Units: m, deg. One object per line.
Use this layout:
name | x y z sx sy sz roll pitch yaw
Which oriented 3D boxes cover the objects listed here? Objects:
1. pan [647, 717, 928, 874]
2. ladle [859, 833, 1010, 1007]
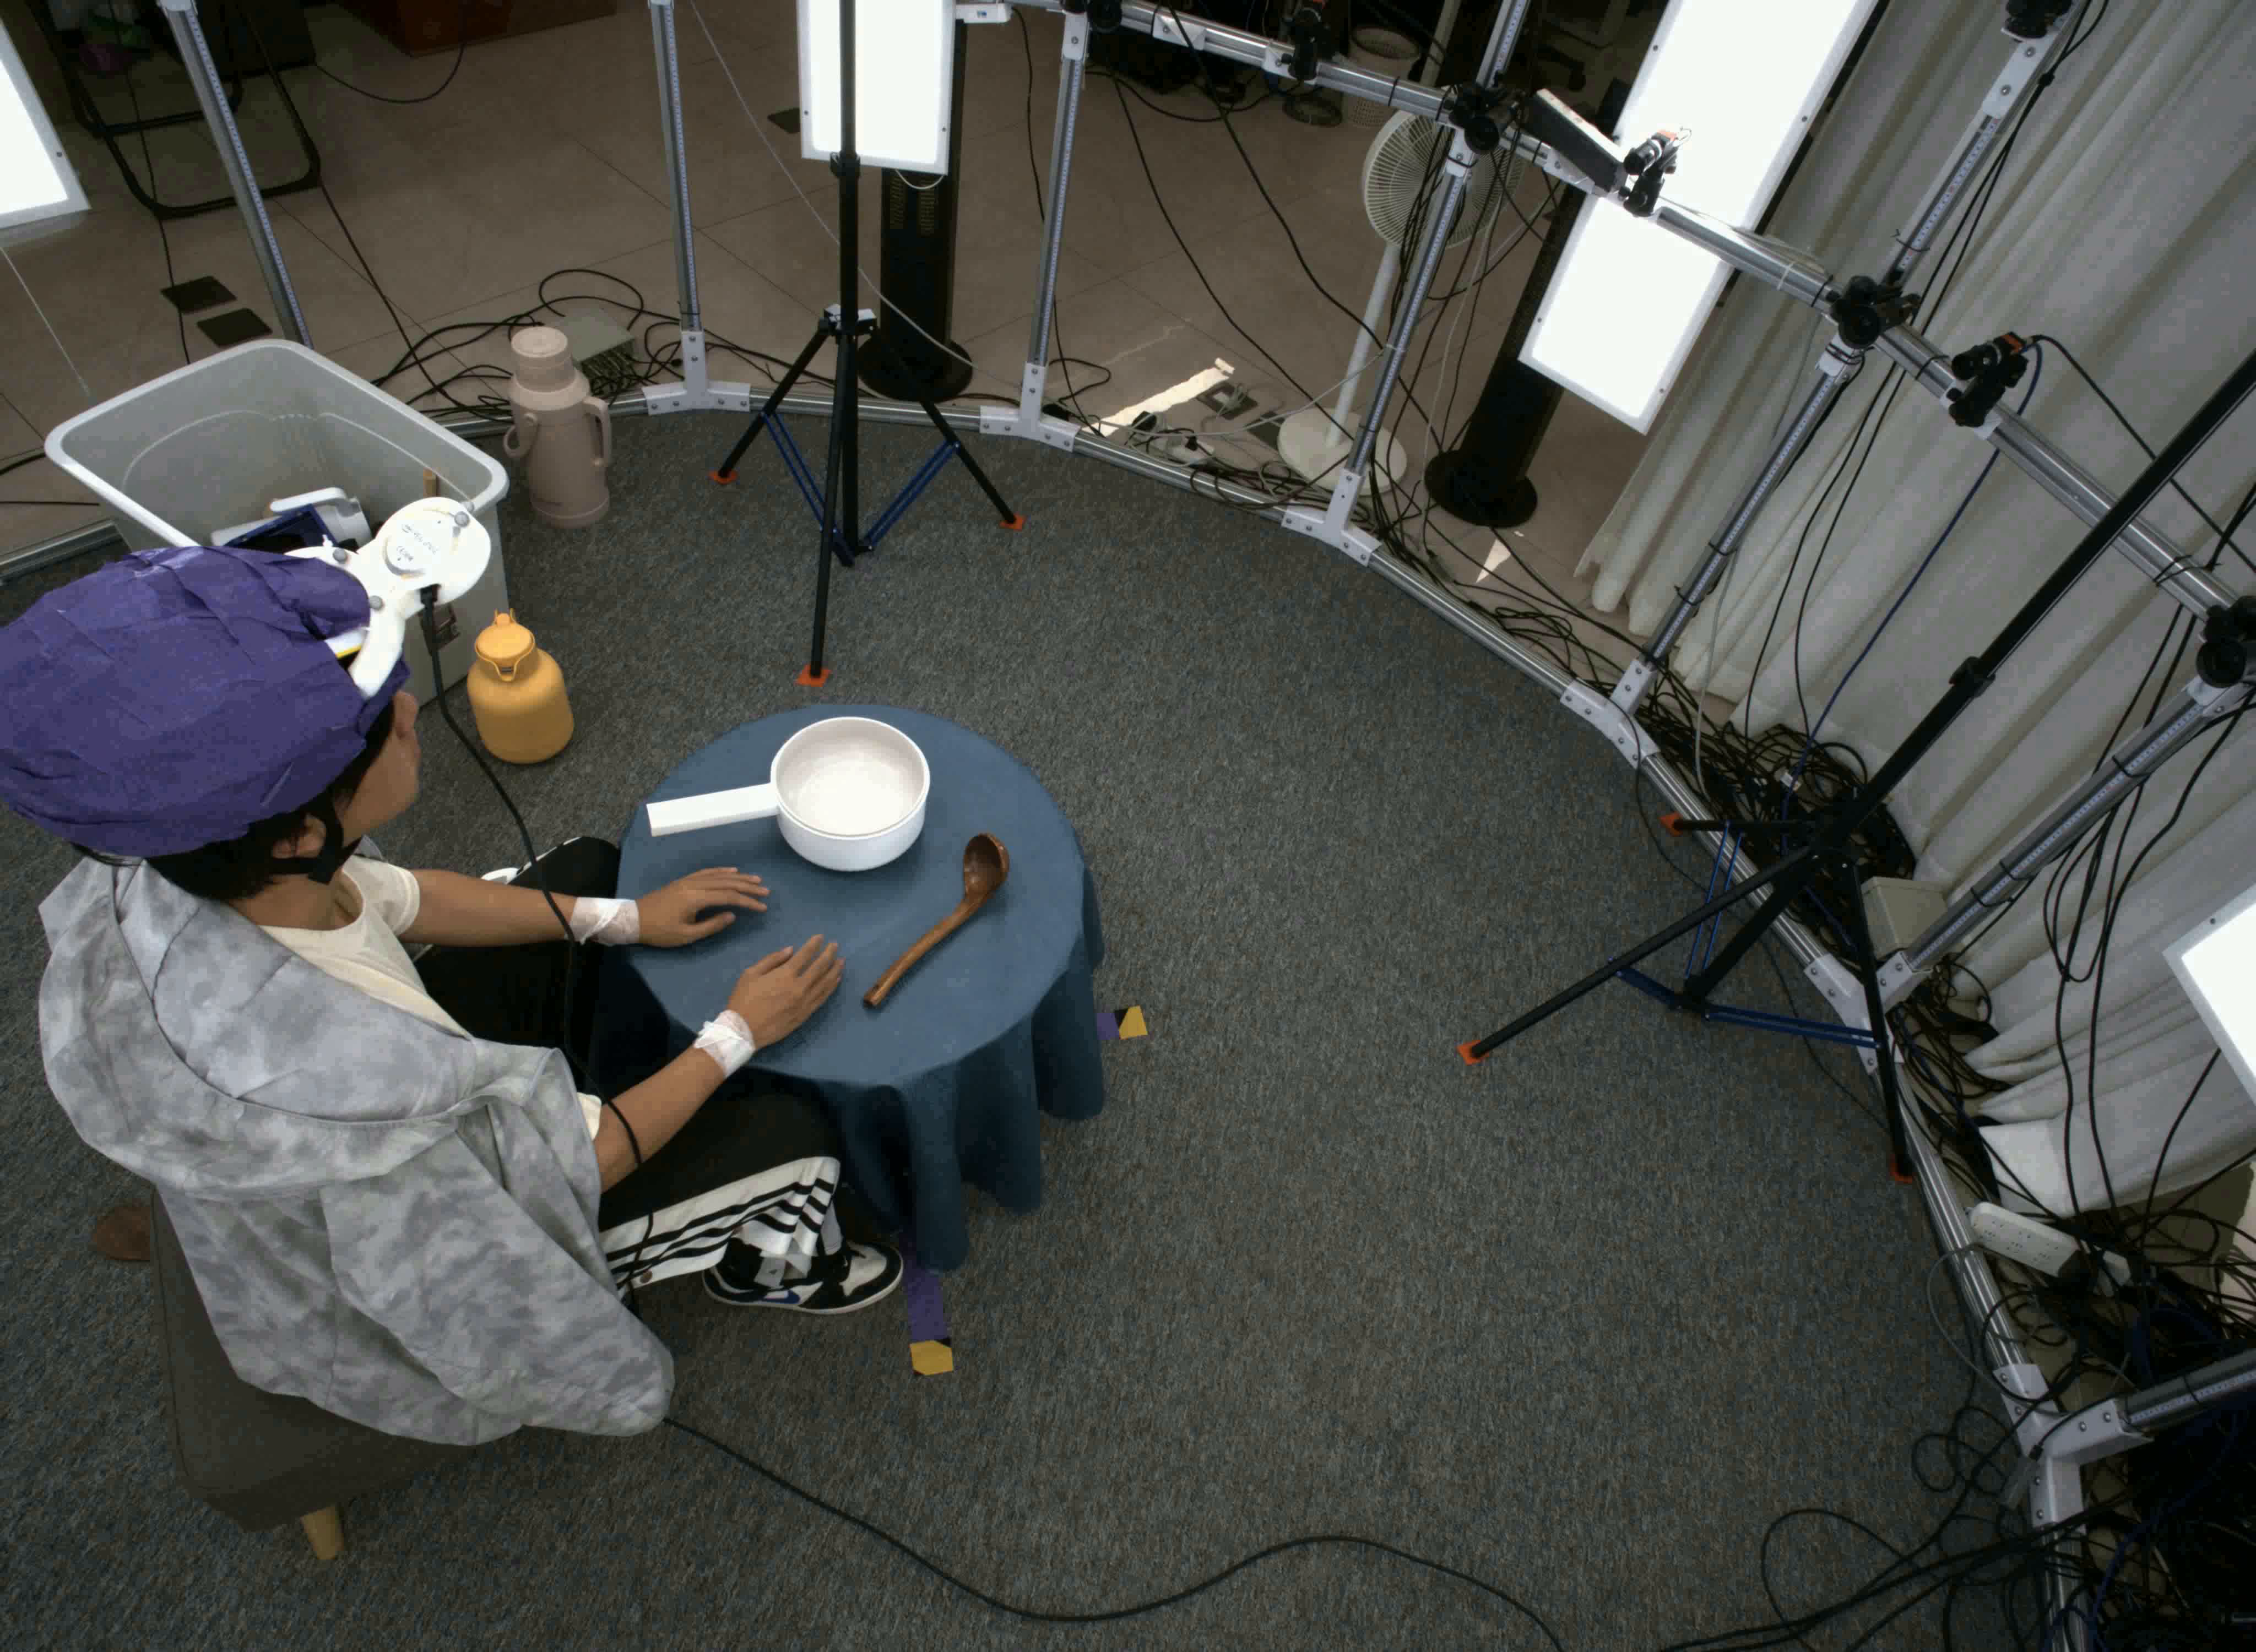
pan | -0.434 -0.021 1.677 0.356 0.104 0.196 -13 59 -21
ladle | -0.250 0.111 1.643 0.274 0.079 0.079 -42 114 -32
